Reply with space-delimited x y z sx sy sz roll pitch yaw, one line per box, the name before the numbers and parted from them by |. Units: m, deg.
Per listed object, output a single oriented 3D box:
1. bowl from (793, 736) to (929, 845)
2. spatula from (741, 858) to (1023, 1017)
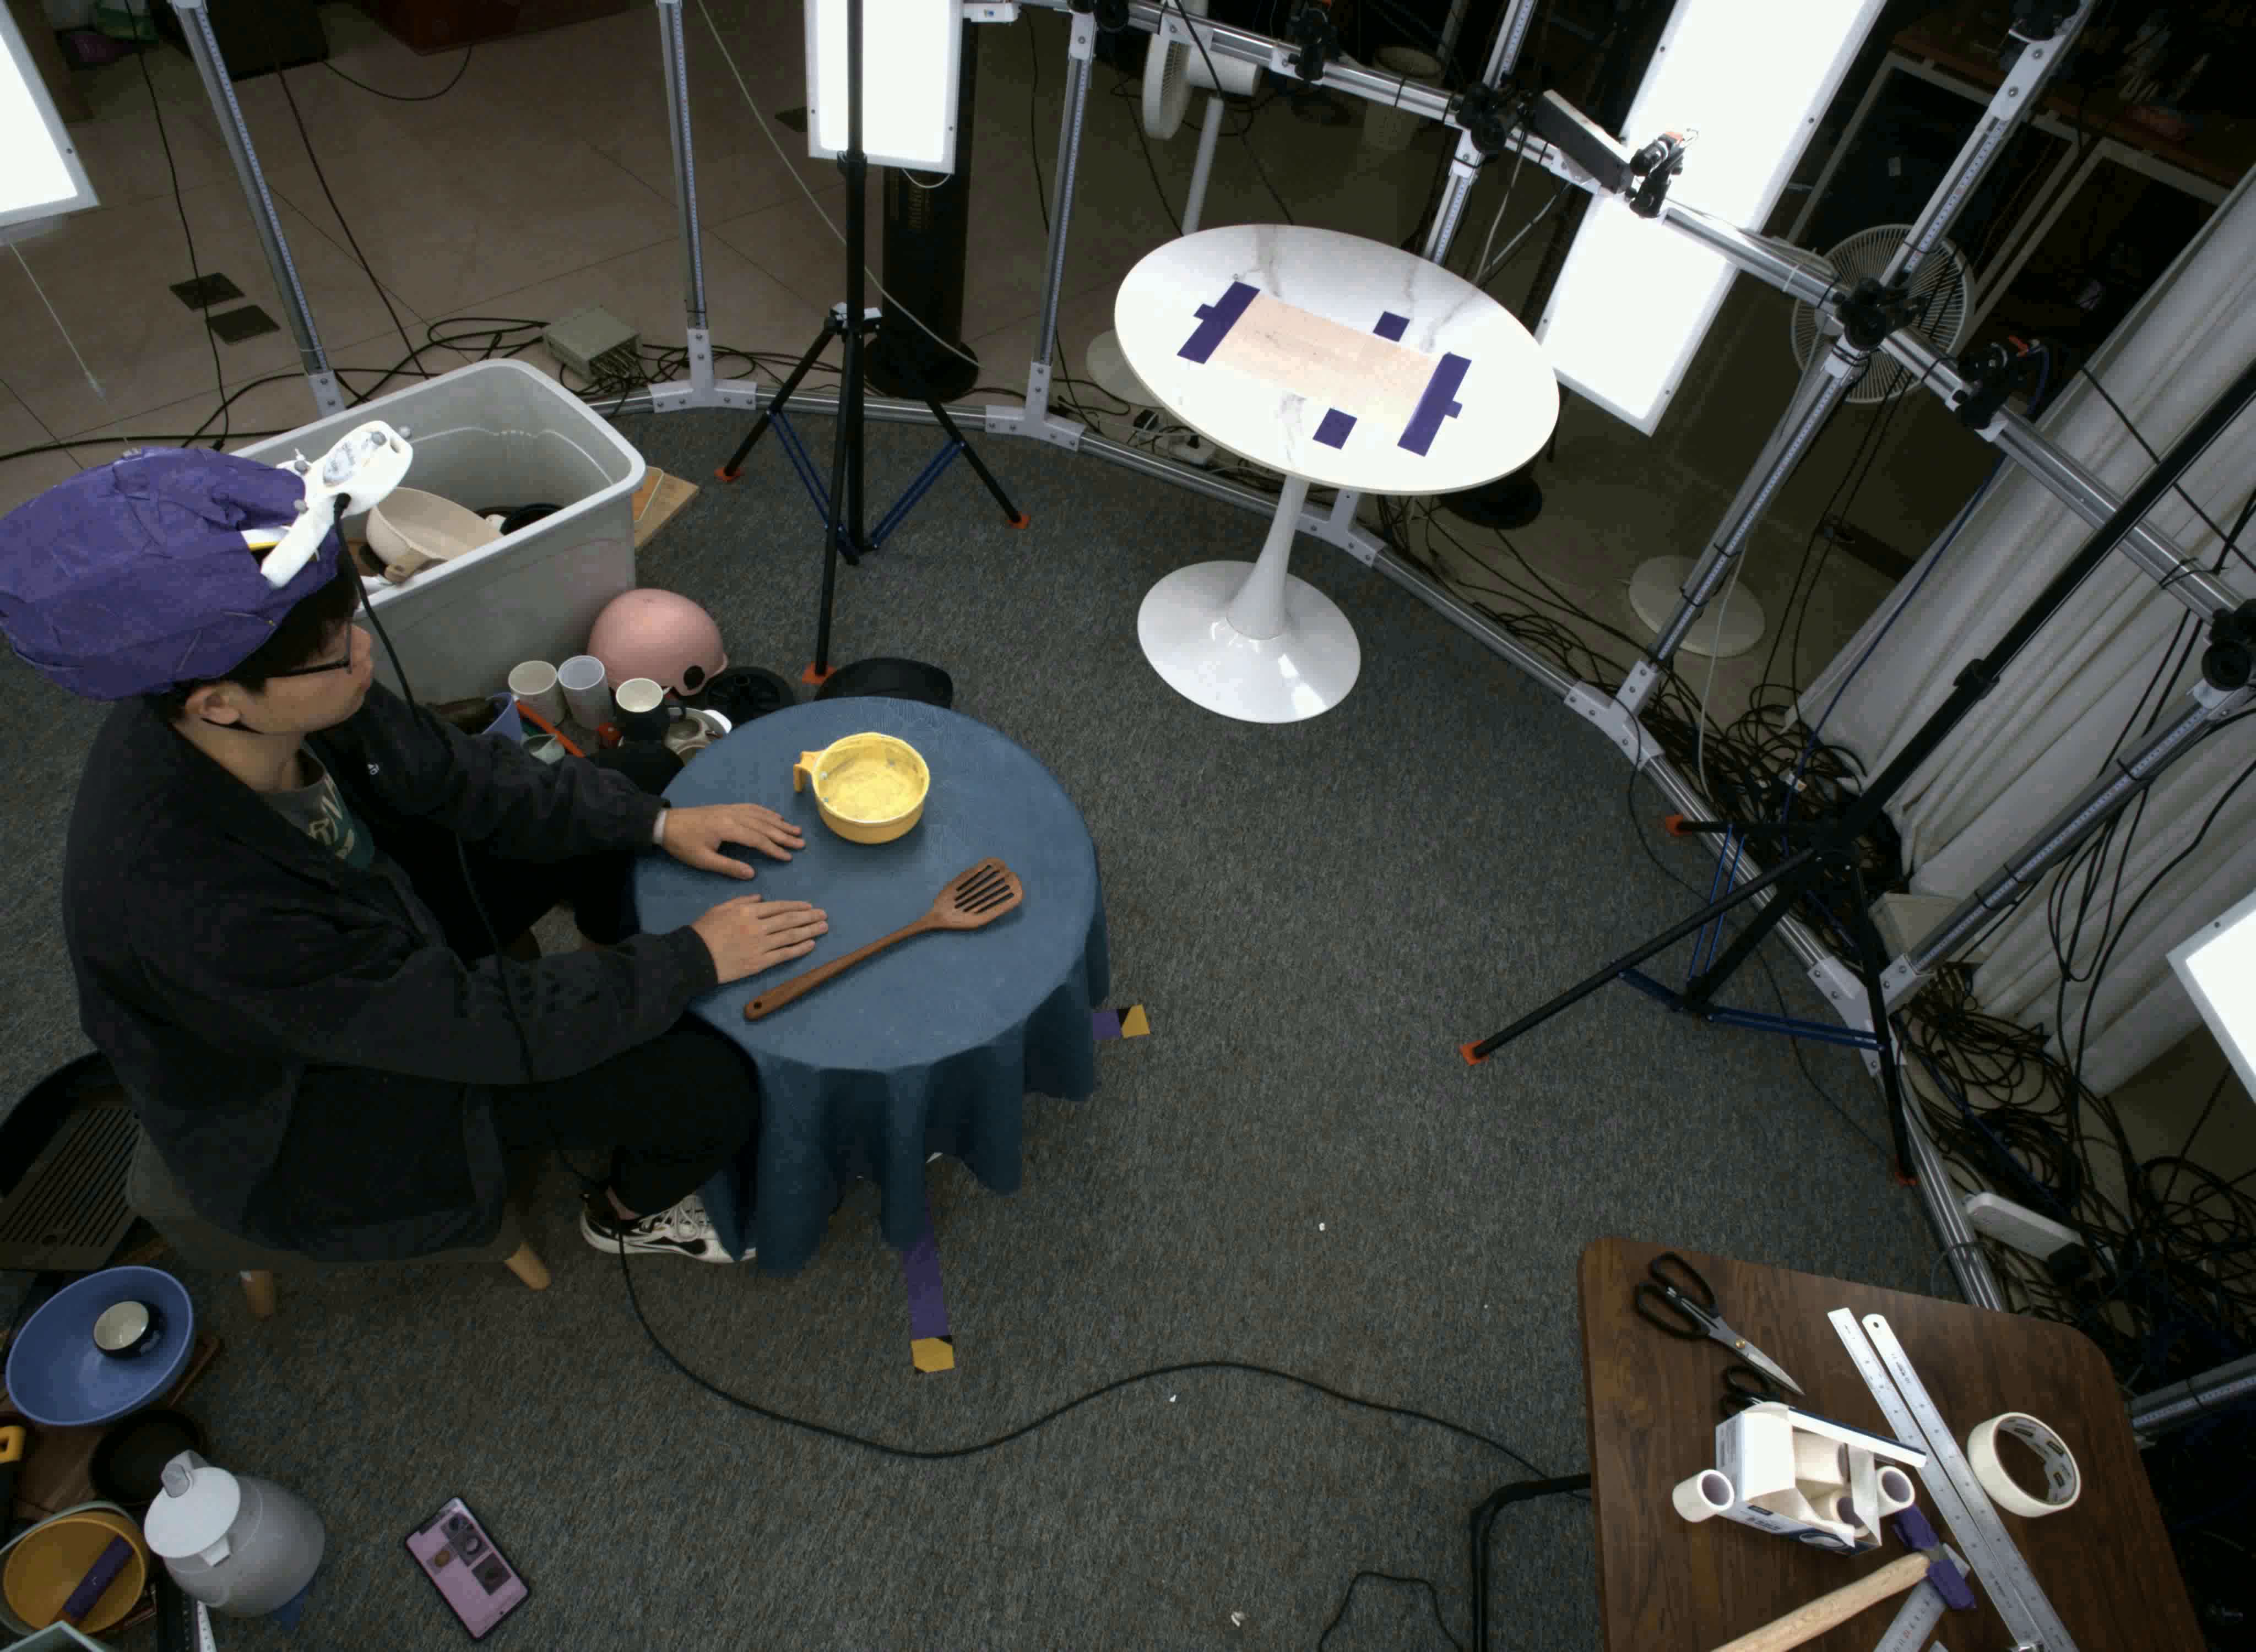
bowl | -0.358 -0.049 1.738 0.178 0.076 0.150 13 51 -5
spatula | -0.306 0.145 1.634 0.388 0.024 0.083 -26 63 -27
